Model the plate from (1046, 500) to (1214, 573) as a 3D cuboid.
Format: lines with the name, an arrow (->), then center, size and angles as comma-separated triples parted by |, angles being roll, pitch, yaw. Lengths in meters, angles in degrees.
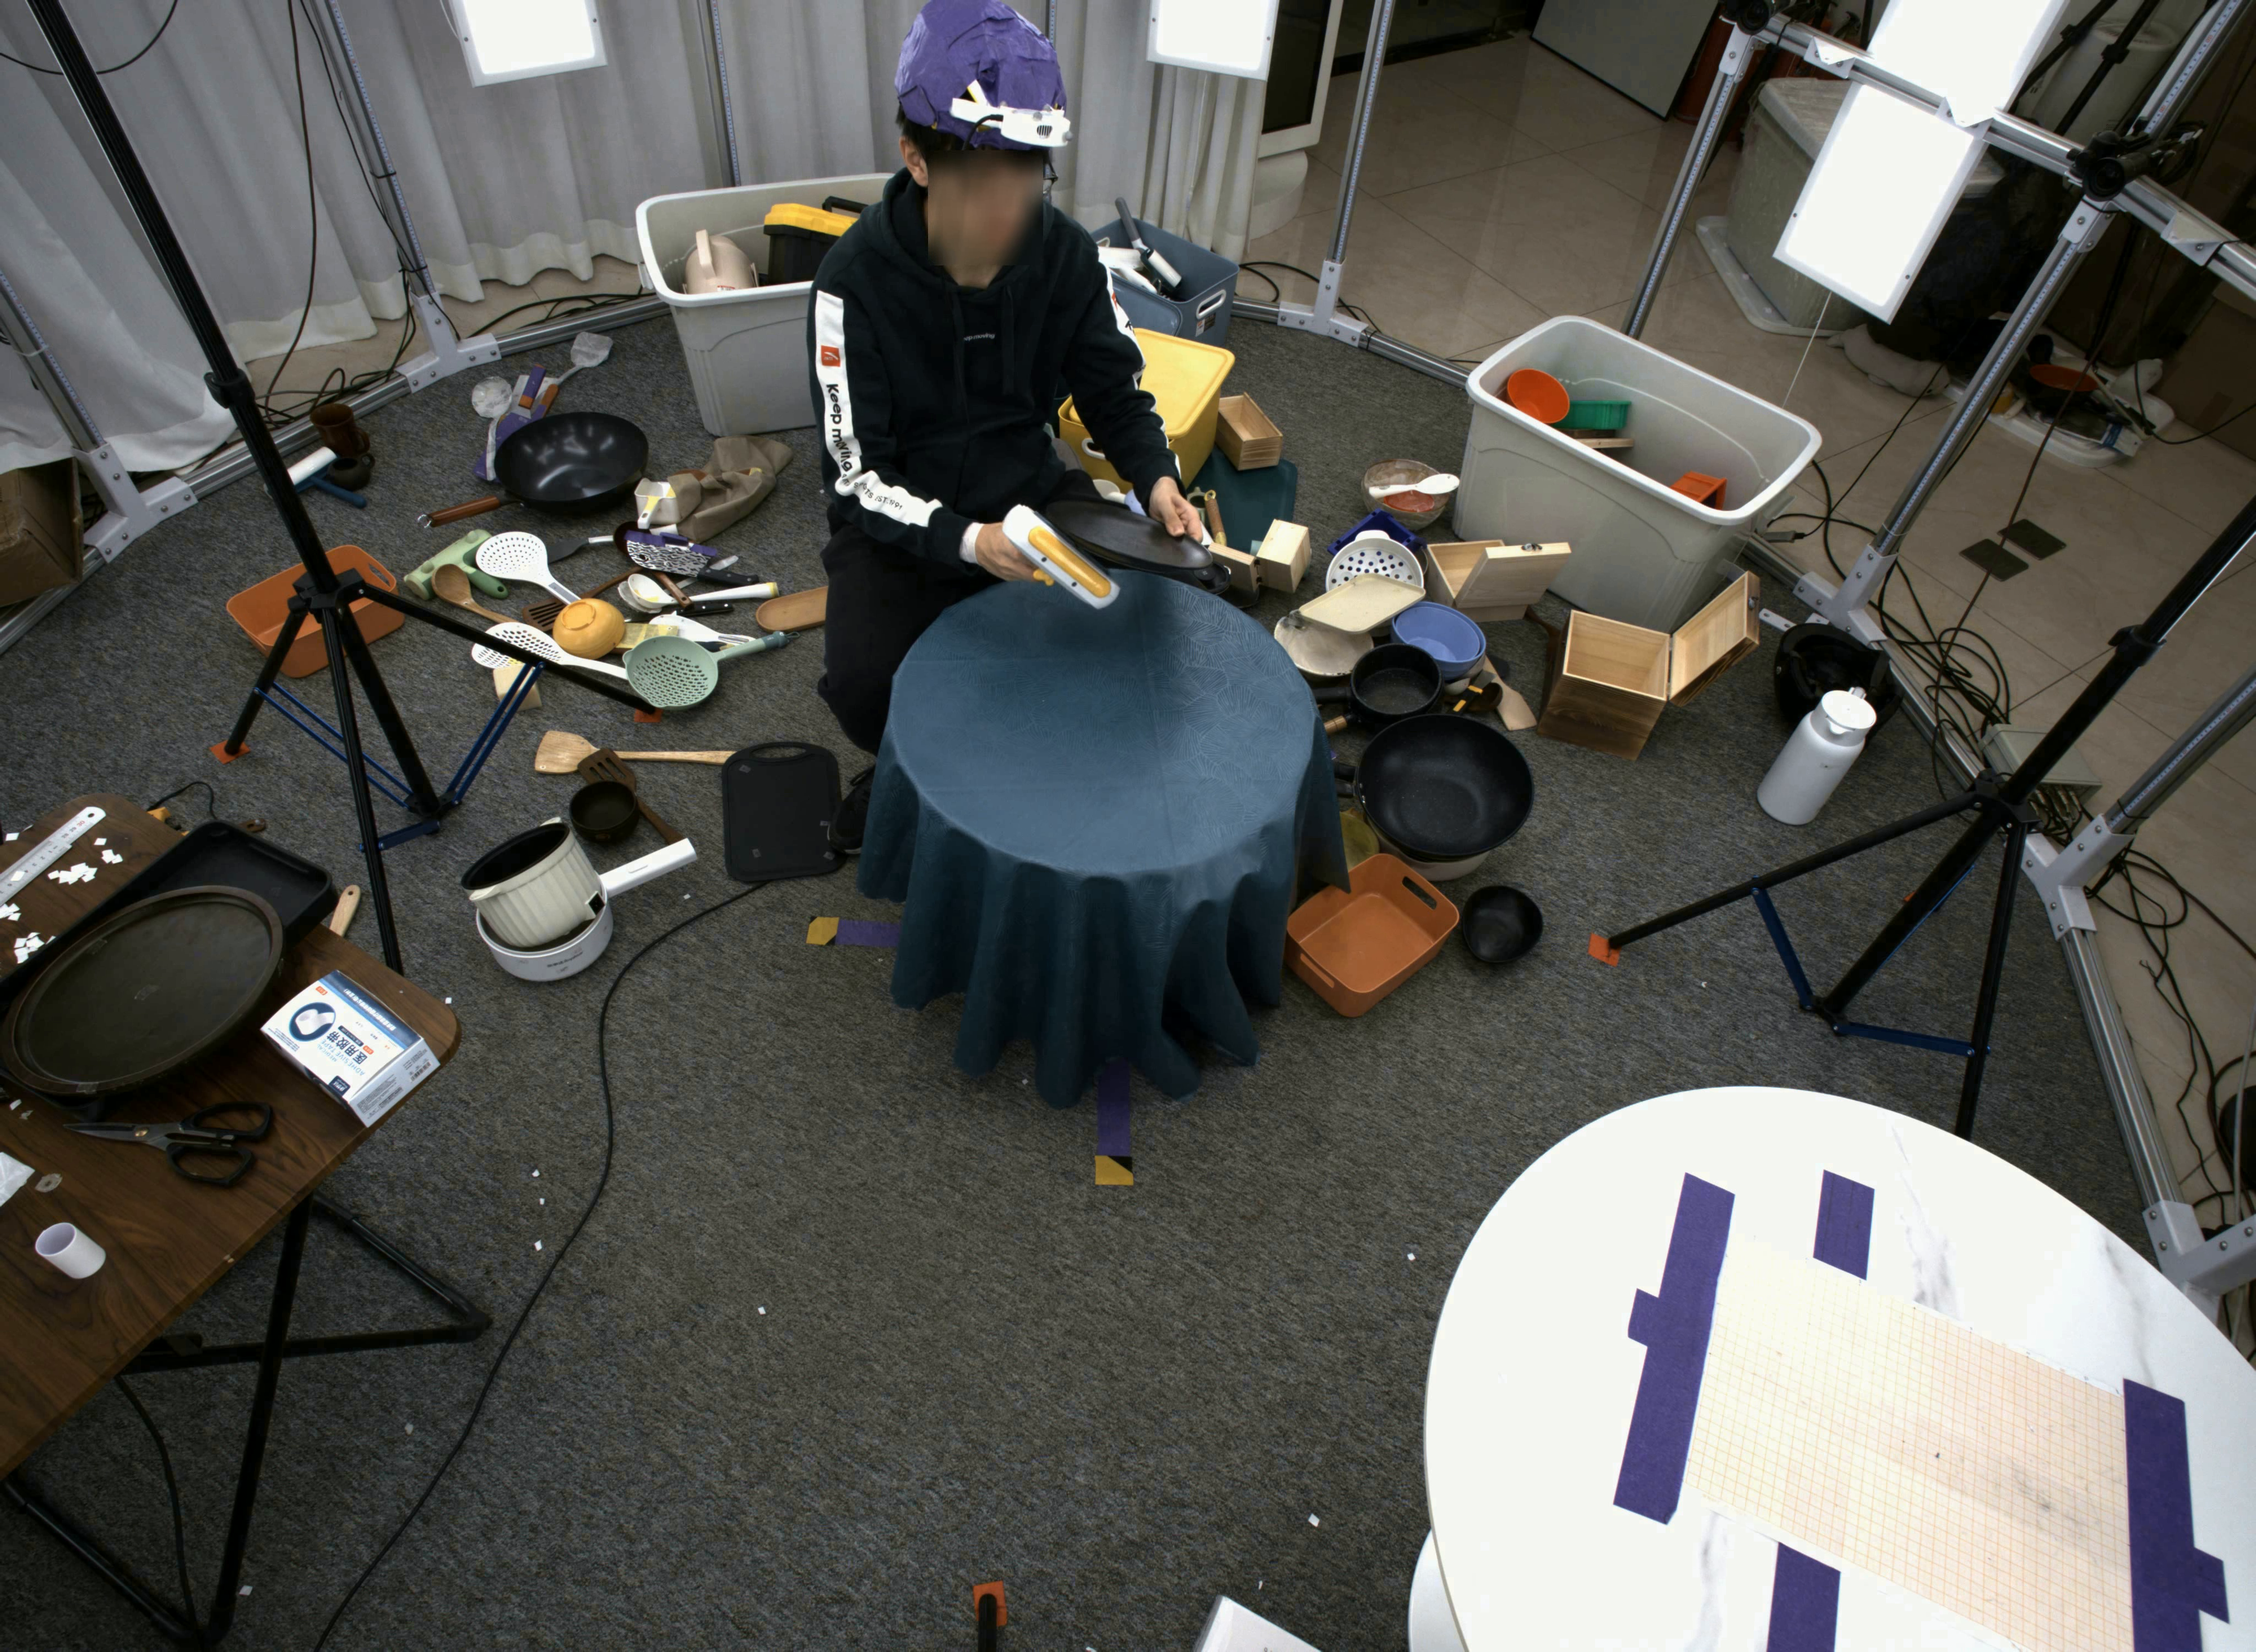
plate -> 0.001, -0.399, 1.795 | 0.243, 0.023, 0.249 | 14, 26, -7

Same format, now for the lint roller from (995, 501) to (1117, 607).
lint roller -> -0.121, -0.384, 1.820 | 0.190, 0.074, 0.195 | 29, 5, -27
